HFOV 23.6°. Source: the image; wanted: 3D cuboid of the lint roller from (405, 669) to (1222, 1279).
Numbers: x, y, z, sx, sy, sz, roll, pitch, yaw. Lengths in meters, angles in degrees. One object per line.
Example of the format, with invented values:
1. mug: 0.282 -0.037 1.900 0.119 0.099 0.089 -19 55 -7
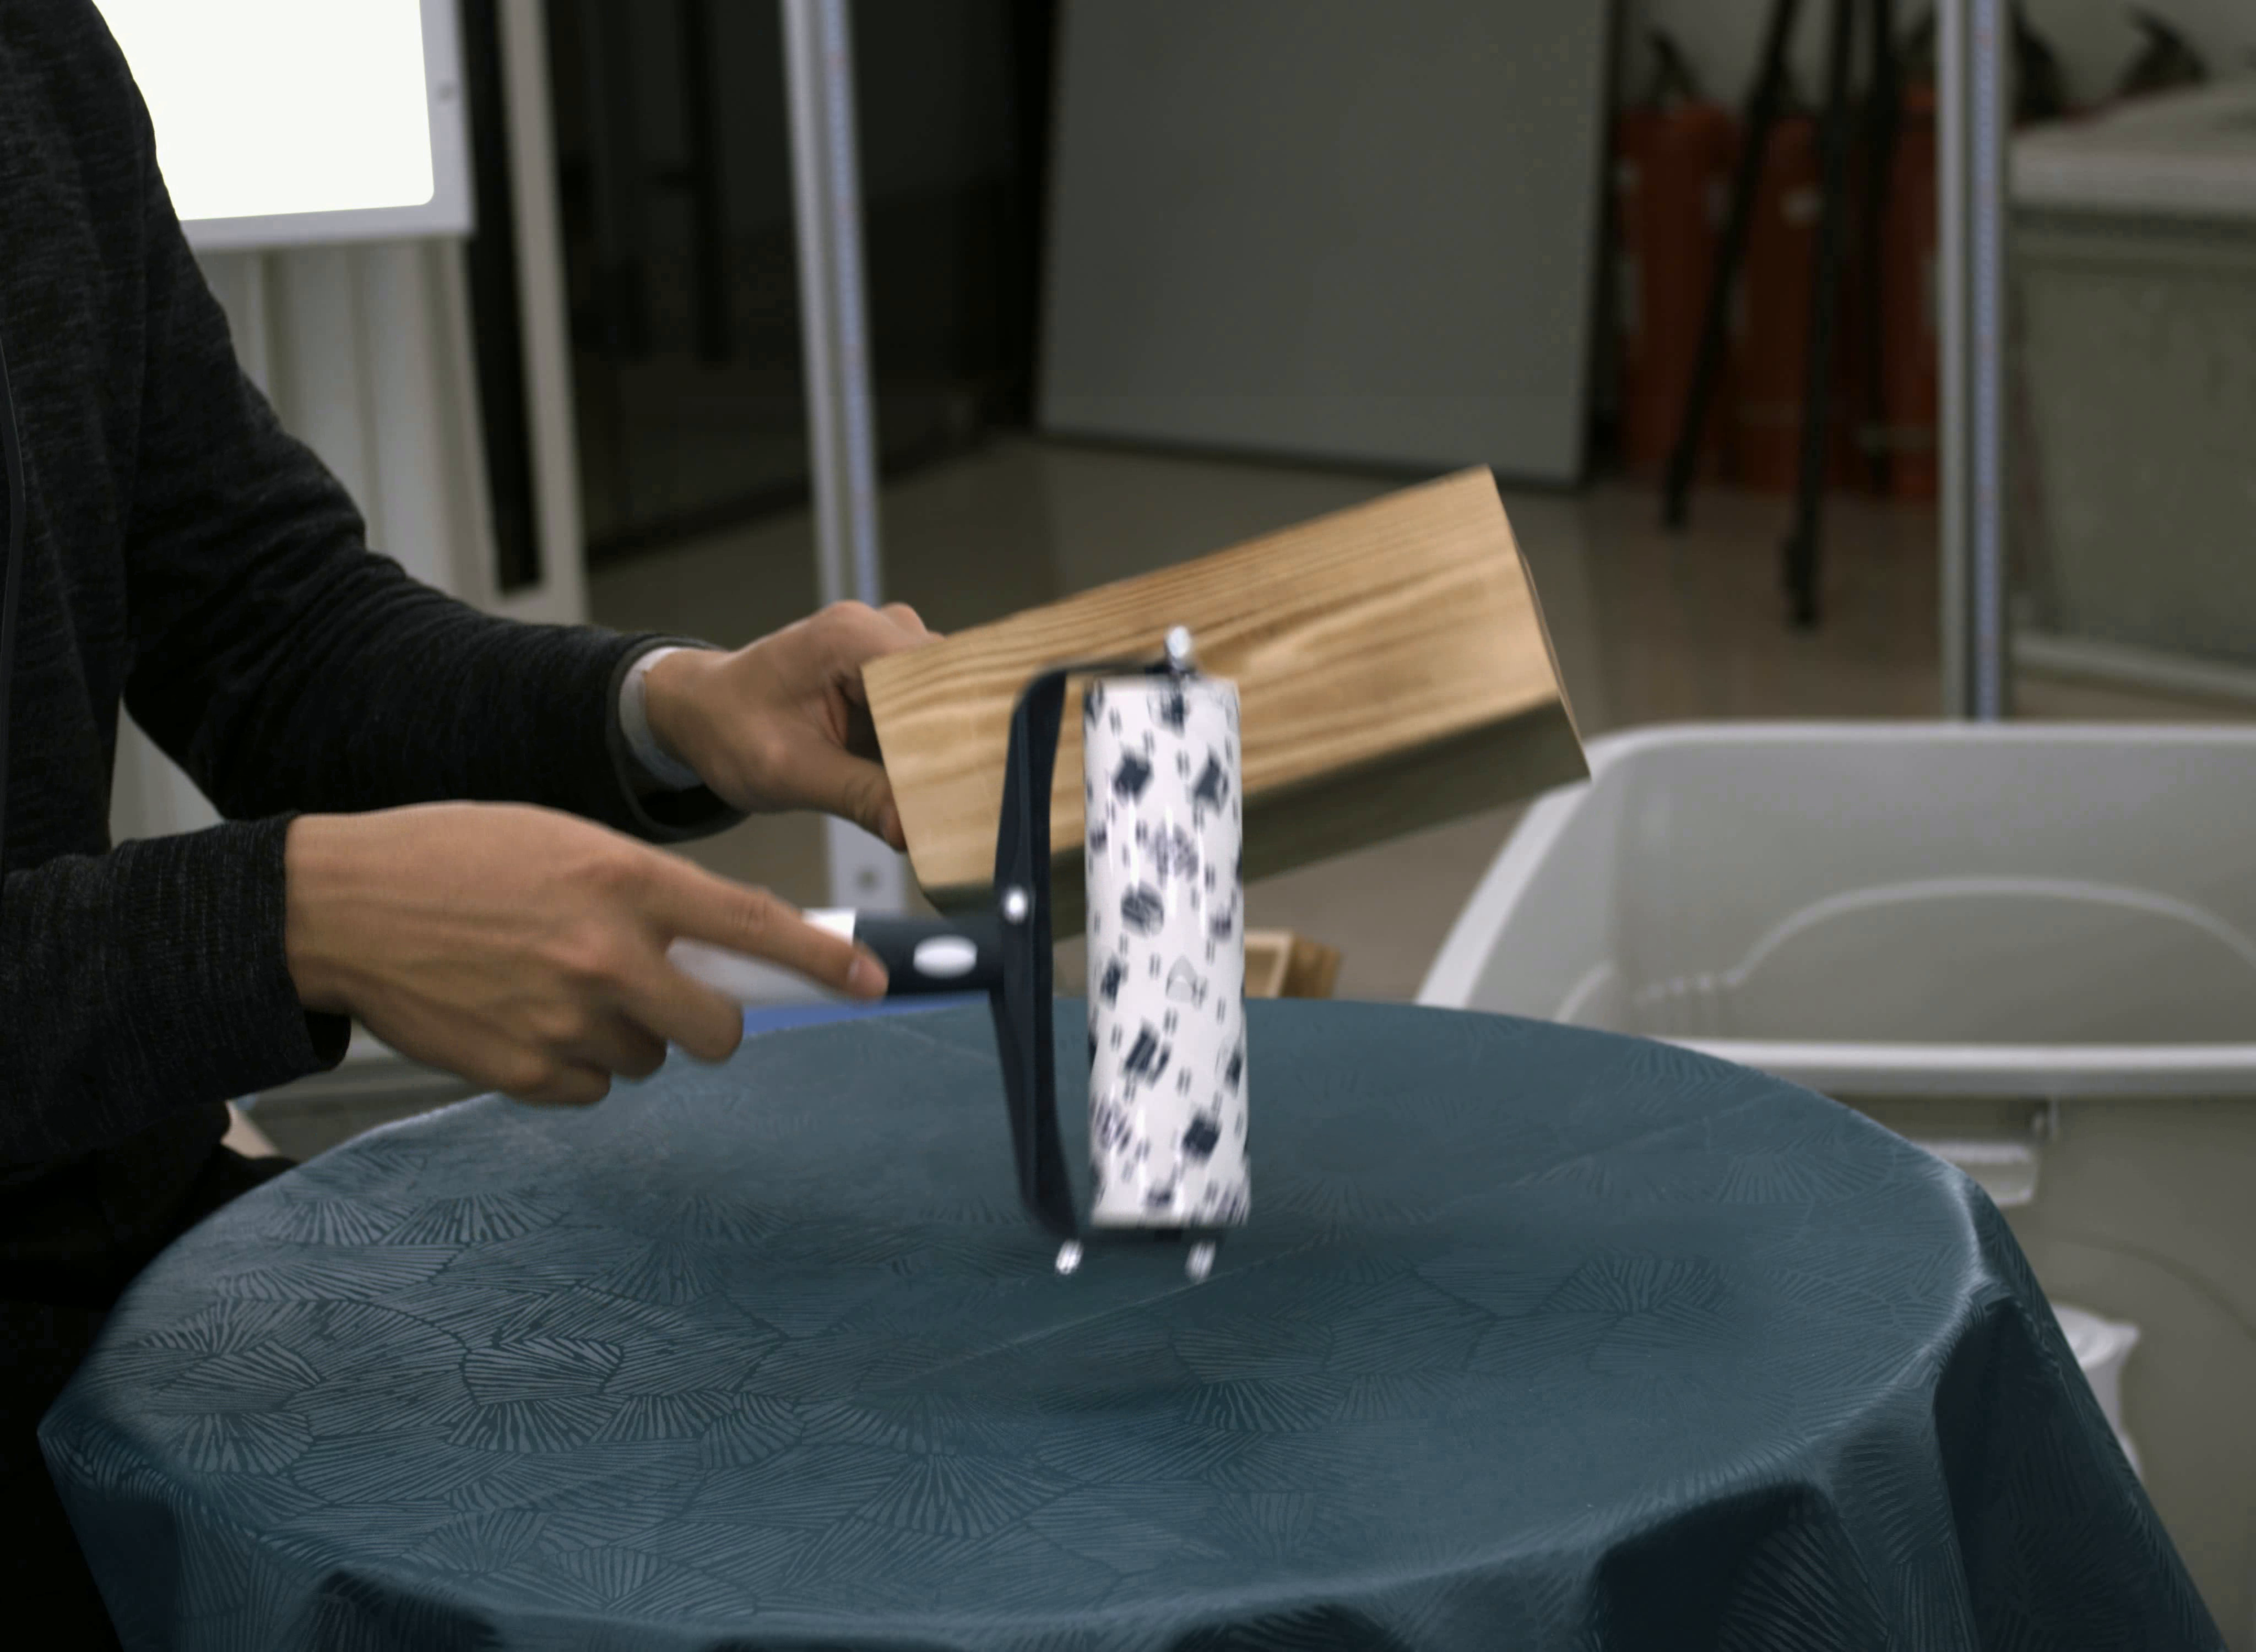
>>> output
1. lint roller: -0.093 0.046 1.592 0.244 0.178 0.050 -2 -1 5

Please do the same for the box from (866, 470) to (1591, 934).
1. box: 0.034 -0.030 1.727 0.210 0.081 0.107 -17 -18 6
